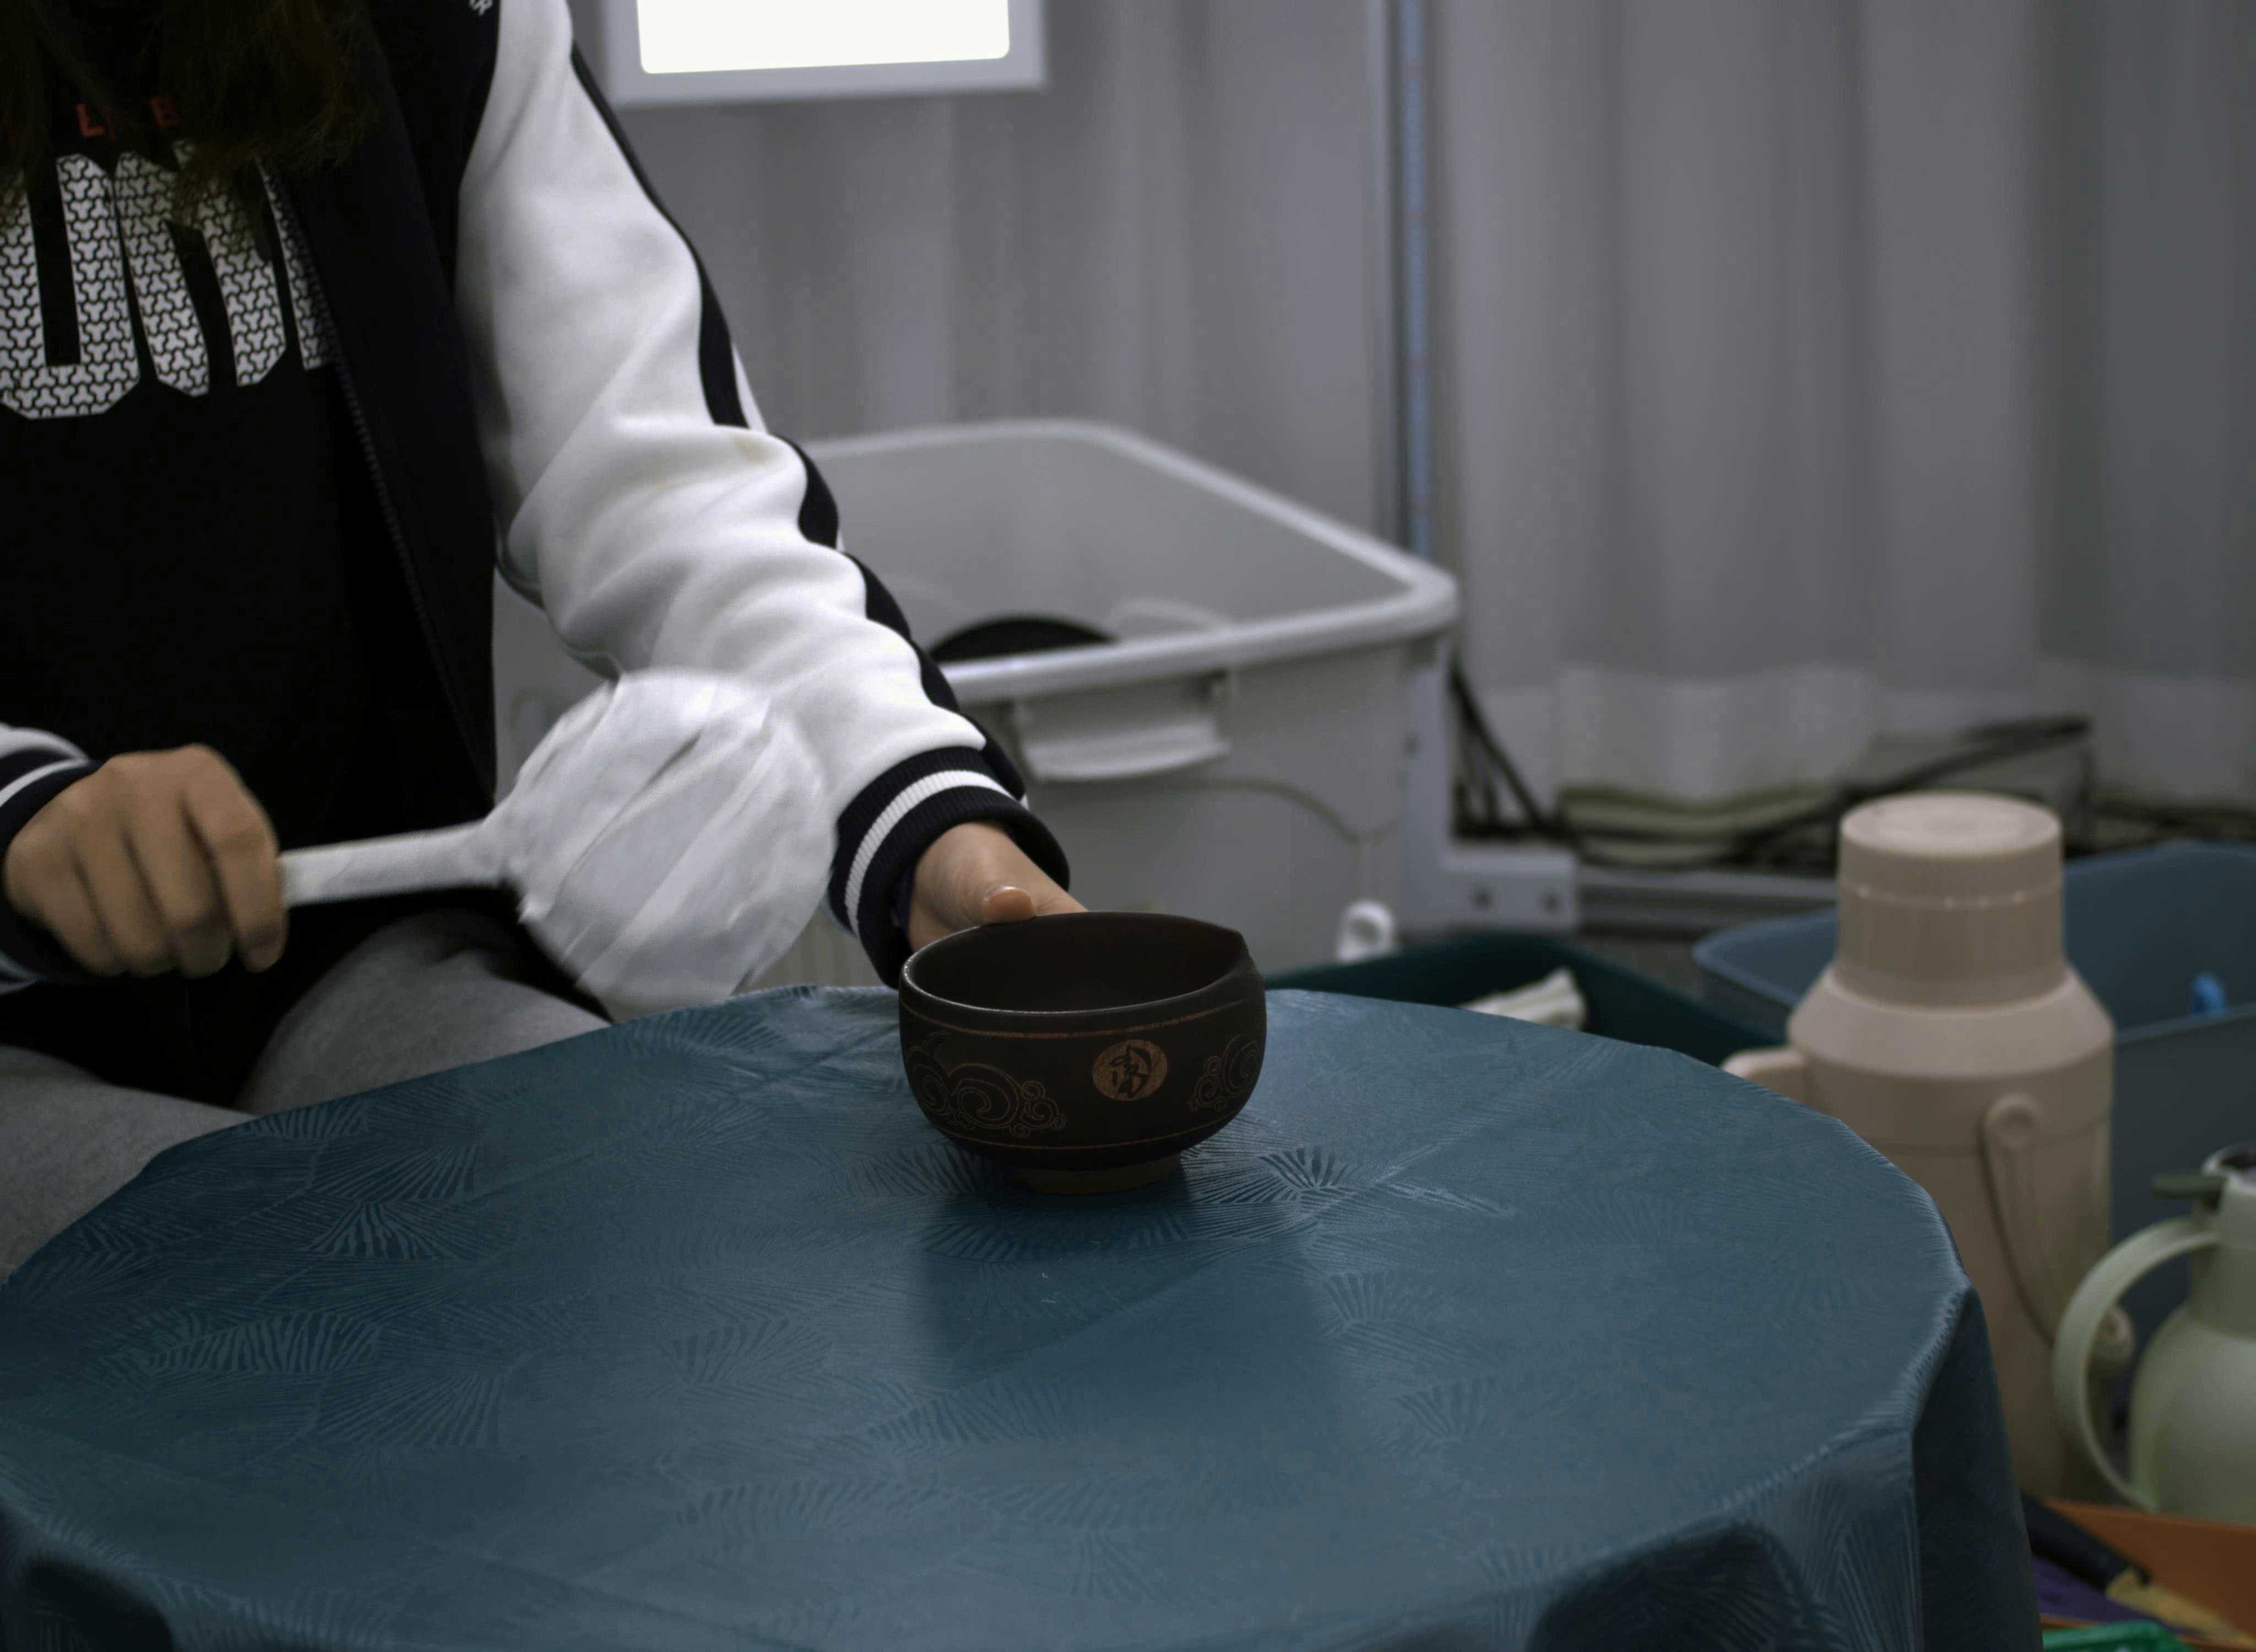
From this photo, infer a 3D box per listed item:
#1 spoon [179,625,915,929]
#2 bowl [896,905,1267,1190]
[{"bbox_3d":[-0.180,-0.003,1.652,0.277,0.100,0.060,-6,25,43],"label":"spoon"},{"bbox_3d":[-0.014,0.074,1.730,0.117,0.069,0.119,-3,14,0],"label":"bowl"}]
